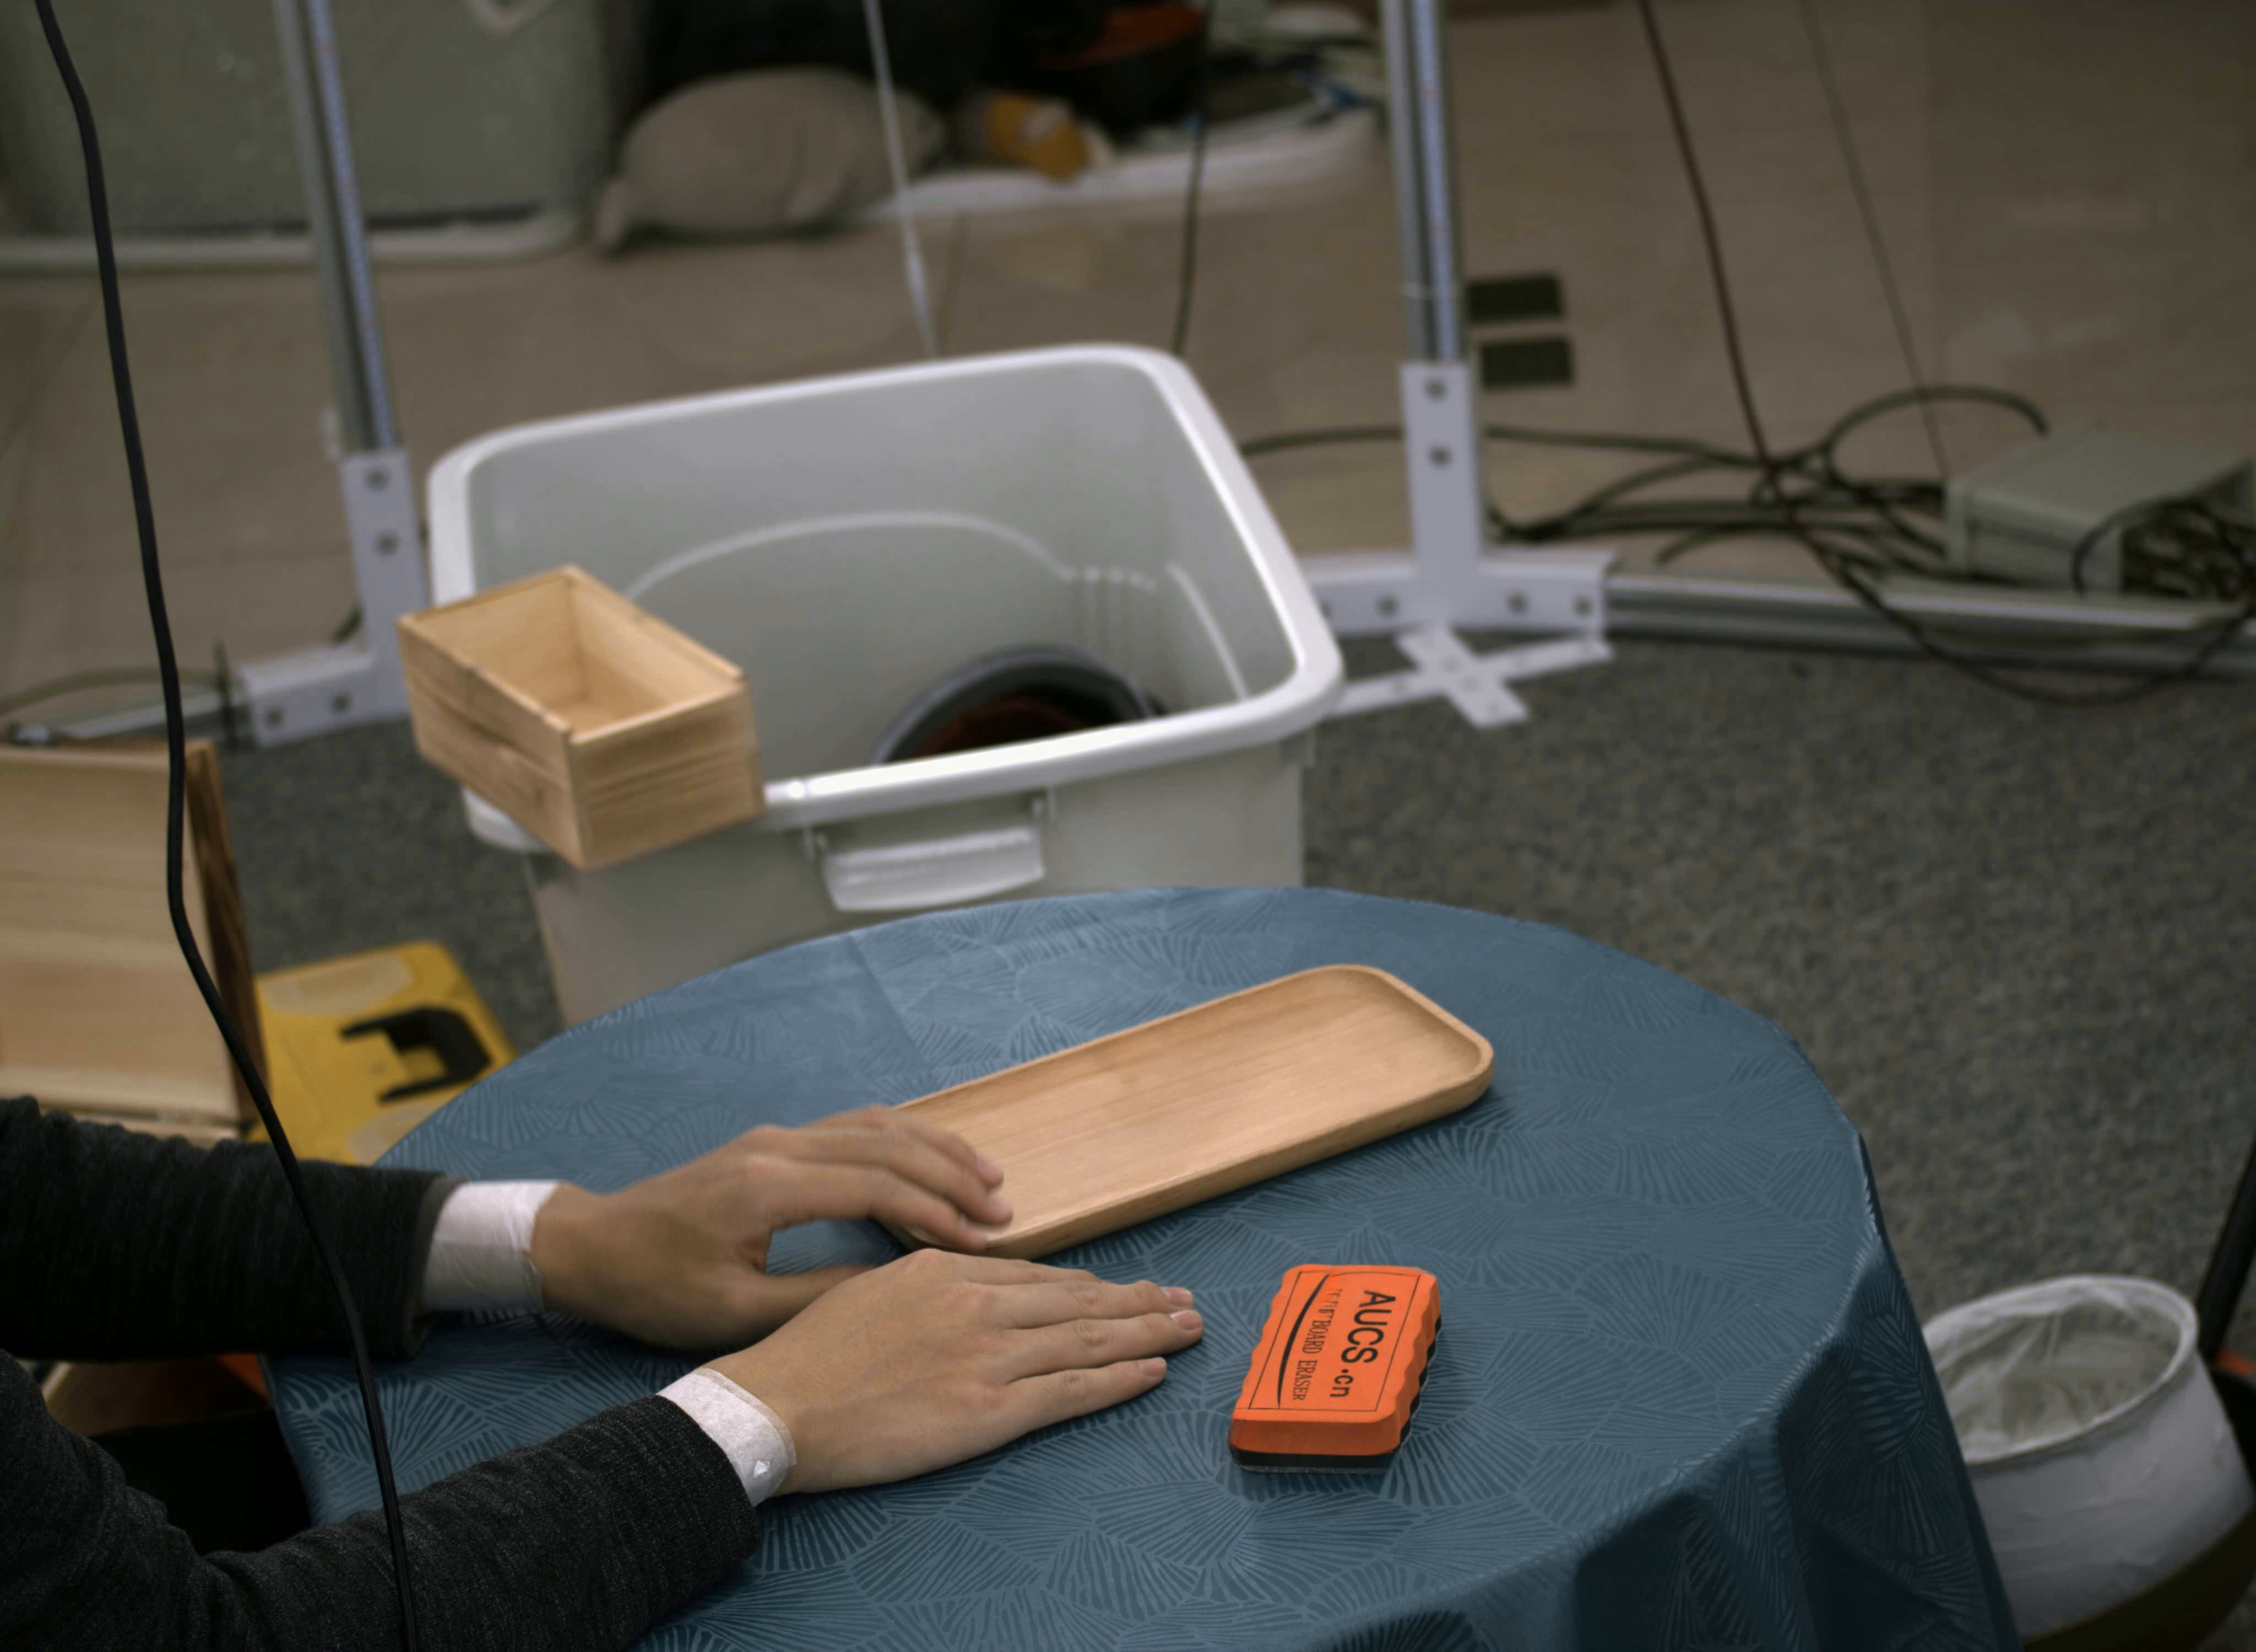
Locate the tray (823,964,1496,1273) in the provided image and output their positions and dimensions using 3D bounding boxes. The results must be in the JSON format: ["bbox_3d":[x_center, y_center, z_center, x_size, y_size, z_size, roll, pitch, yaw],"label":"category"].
[{"bbox_3d":[0.013,0.111,2.184,0.249,0.023,0.129,-18,25,-21],"label":"tray"}]

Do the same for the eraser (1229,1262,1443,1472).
[{"bbox_3d":[0.074,0.189,1.993,0.059,0.023,0.106,0,26,15],"label":"eraser"}]
